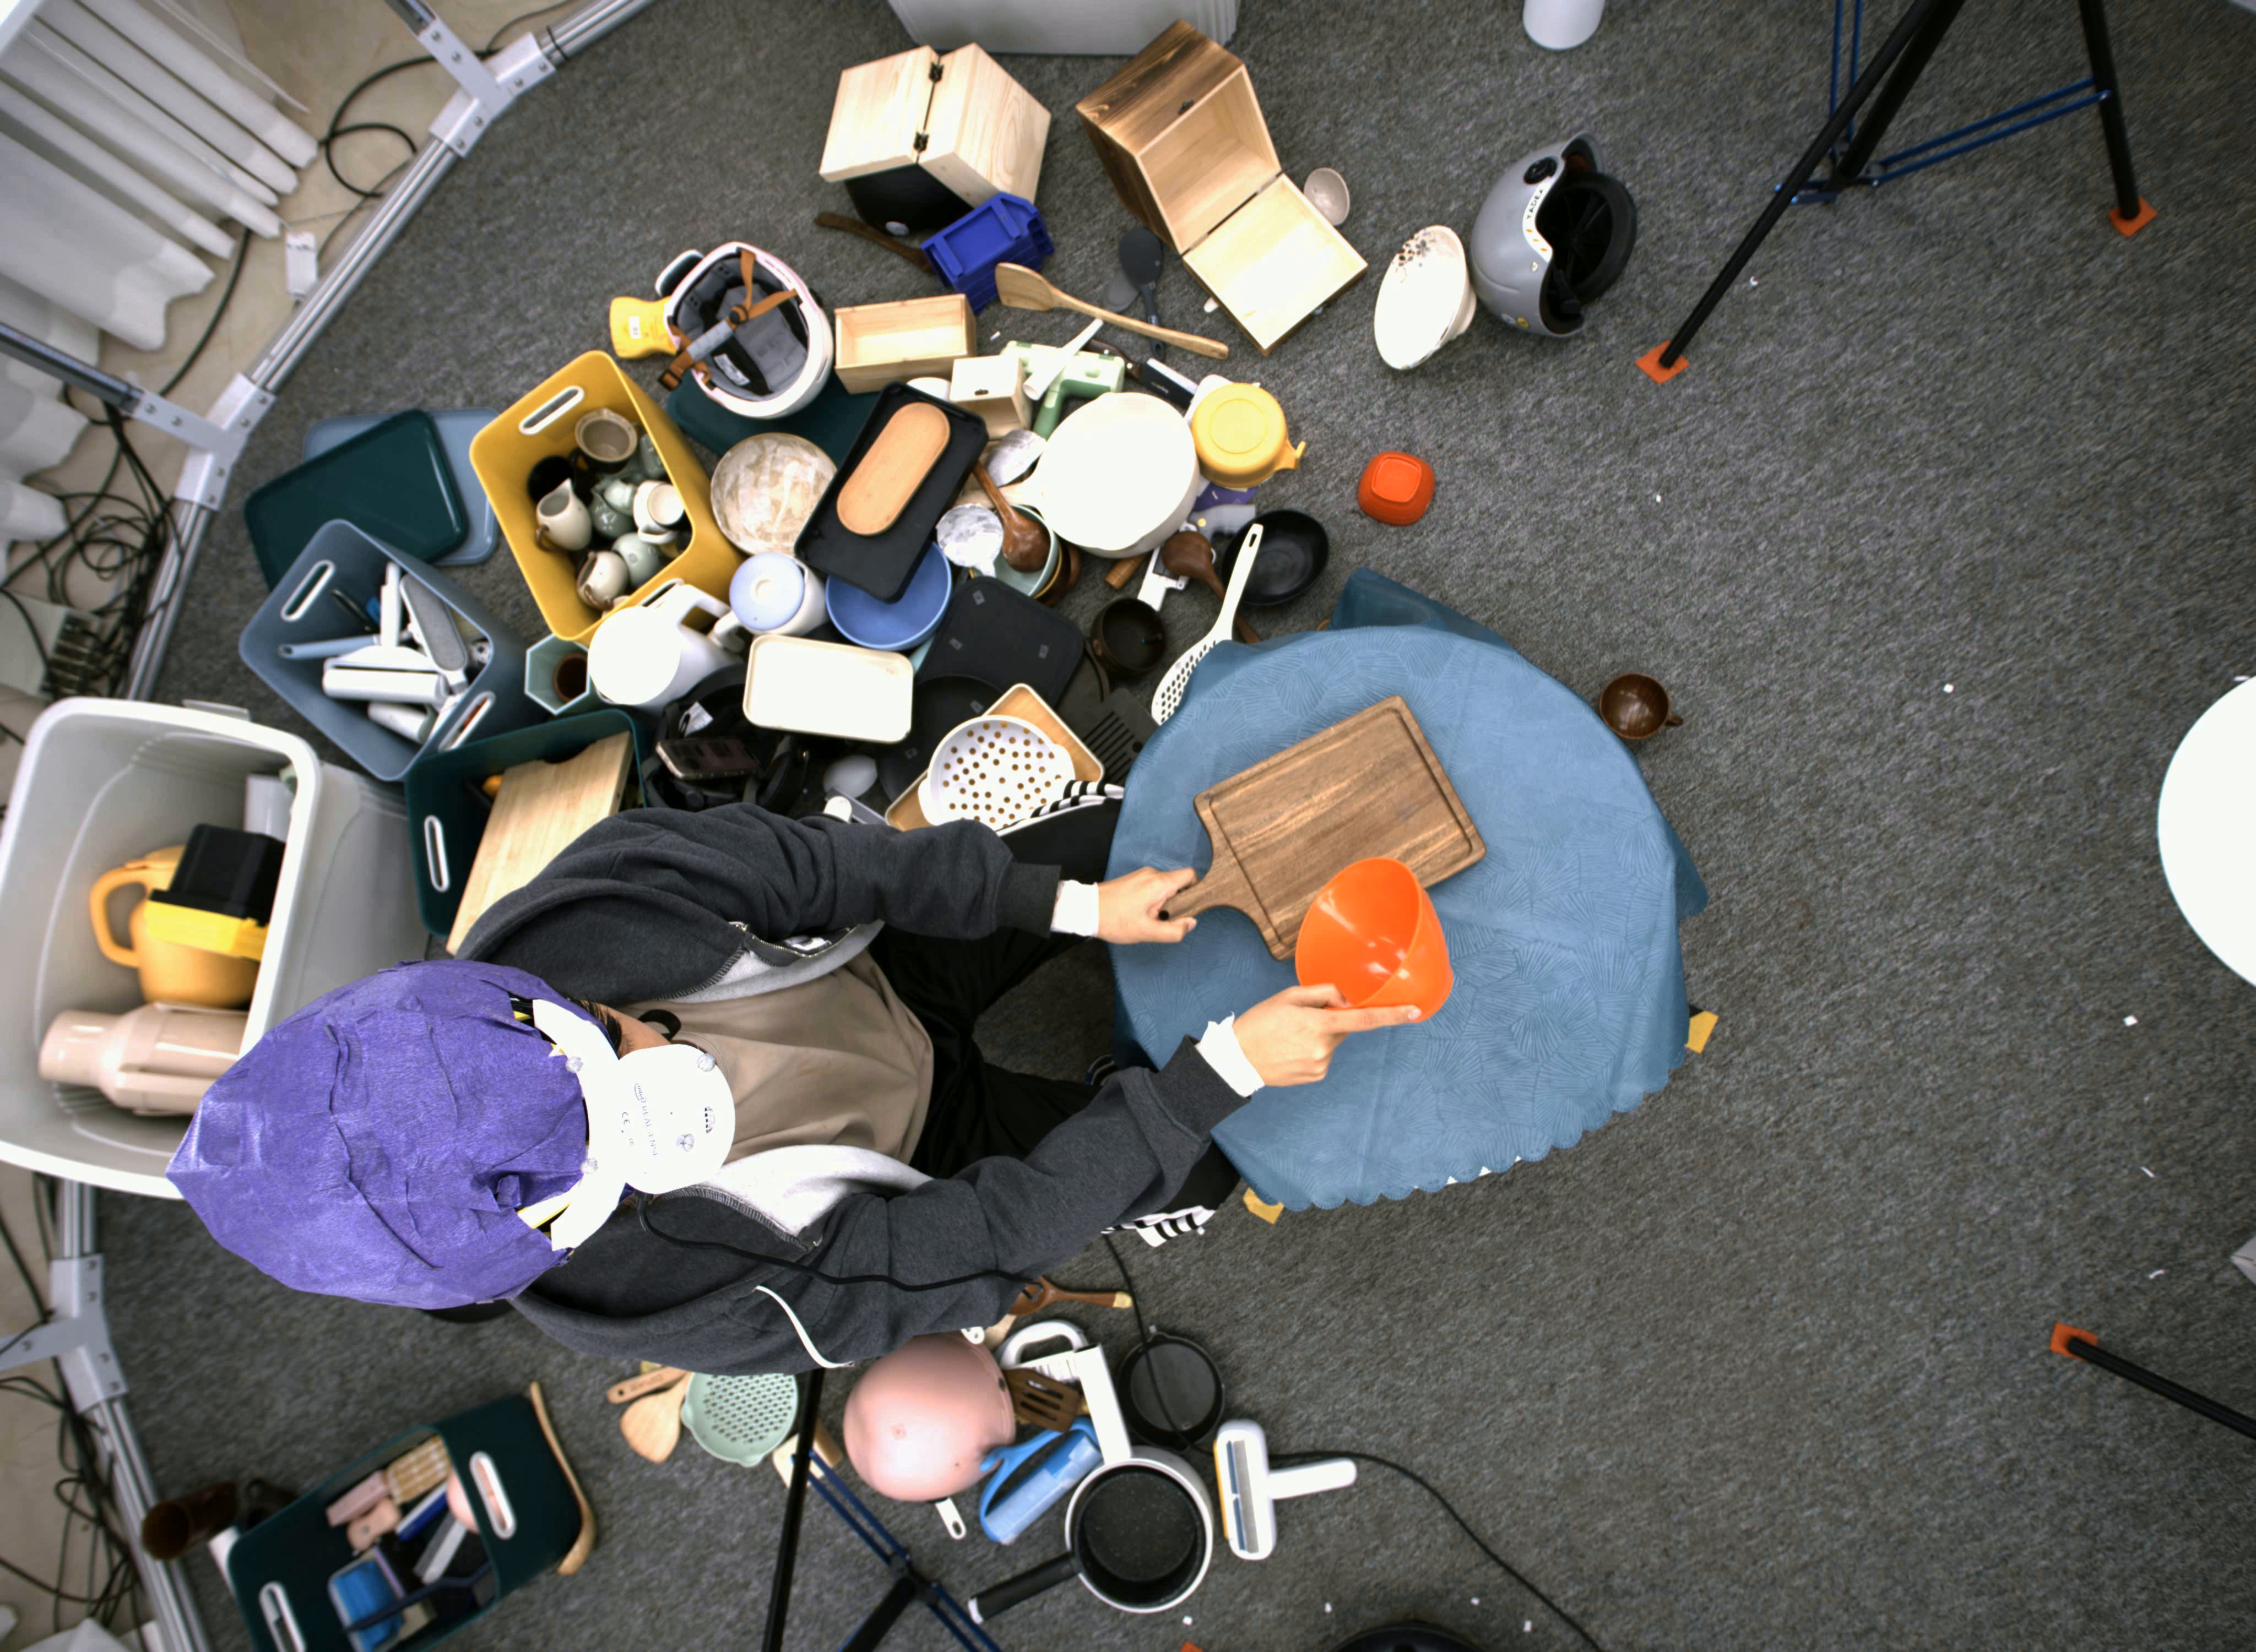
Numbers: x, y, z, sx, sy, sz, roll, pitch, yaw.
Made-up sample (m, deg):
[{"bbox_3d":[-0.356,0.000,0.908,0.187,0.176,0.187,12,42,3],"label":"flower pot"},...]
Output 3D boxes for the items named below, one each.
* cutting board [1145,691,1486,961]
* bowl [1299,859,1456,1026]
[{"bbox_3d":[0.174,0.019,1.436,0.352,0.023,0.200,-27,84,-2],"label":"cutting board"},{"bbox_3d":[0.238,0.117,1.251,0.105,0.146,0.148,36,92,-24],"label":"bowl"}]
